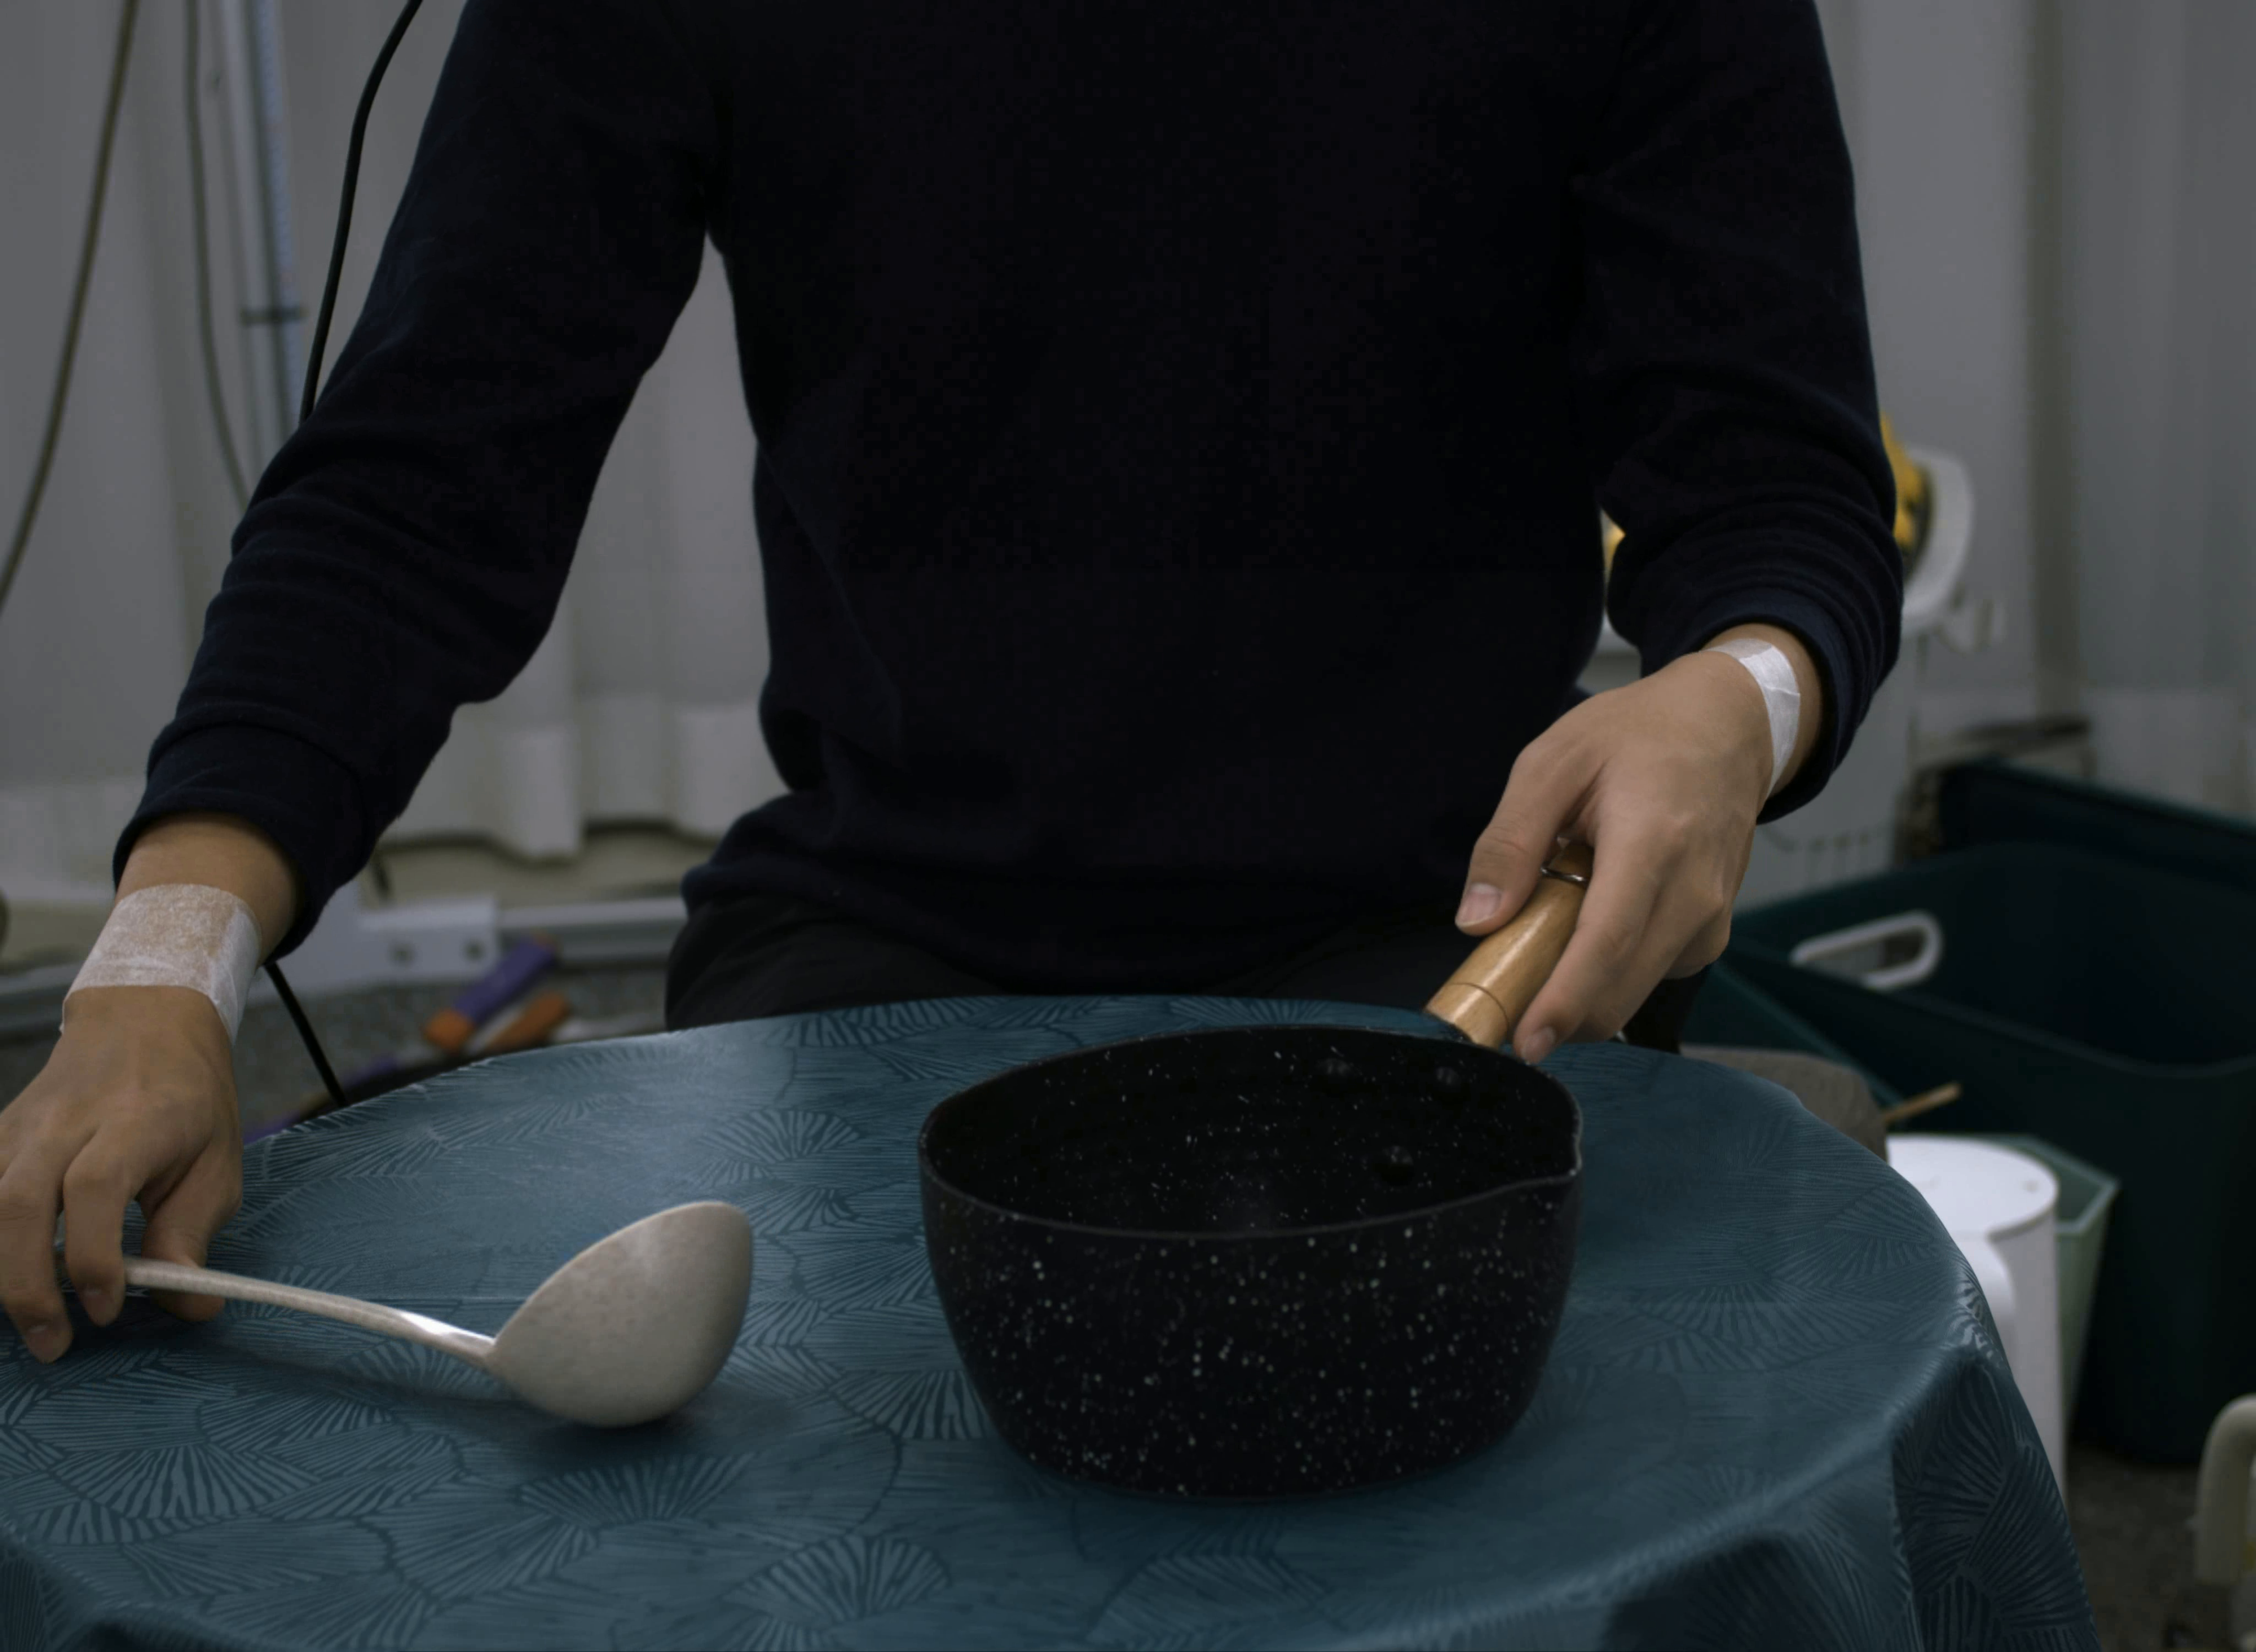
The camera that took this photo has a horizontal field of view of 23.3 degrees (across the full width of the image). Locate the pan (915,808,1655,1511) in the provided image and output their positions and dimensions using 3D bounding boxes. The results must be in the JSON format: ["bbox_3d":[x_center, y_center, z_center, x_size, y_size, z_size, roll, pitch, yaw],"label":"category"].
[{"bbox_3d":[0.072,0.091,1.582,0.208,0.108,0.343,4,18,28],"label":"pan"}]

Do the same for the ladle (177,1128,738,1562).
[{"bbox_3d":[-0.211,0.158,1.617,0.088,0.070,0.274,23,-30,-27],"label":"ladle"}]
